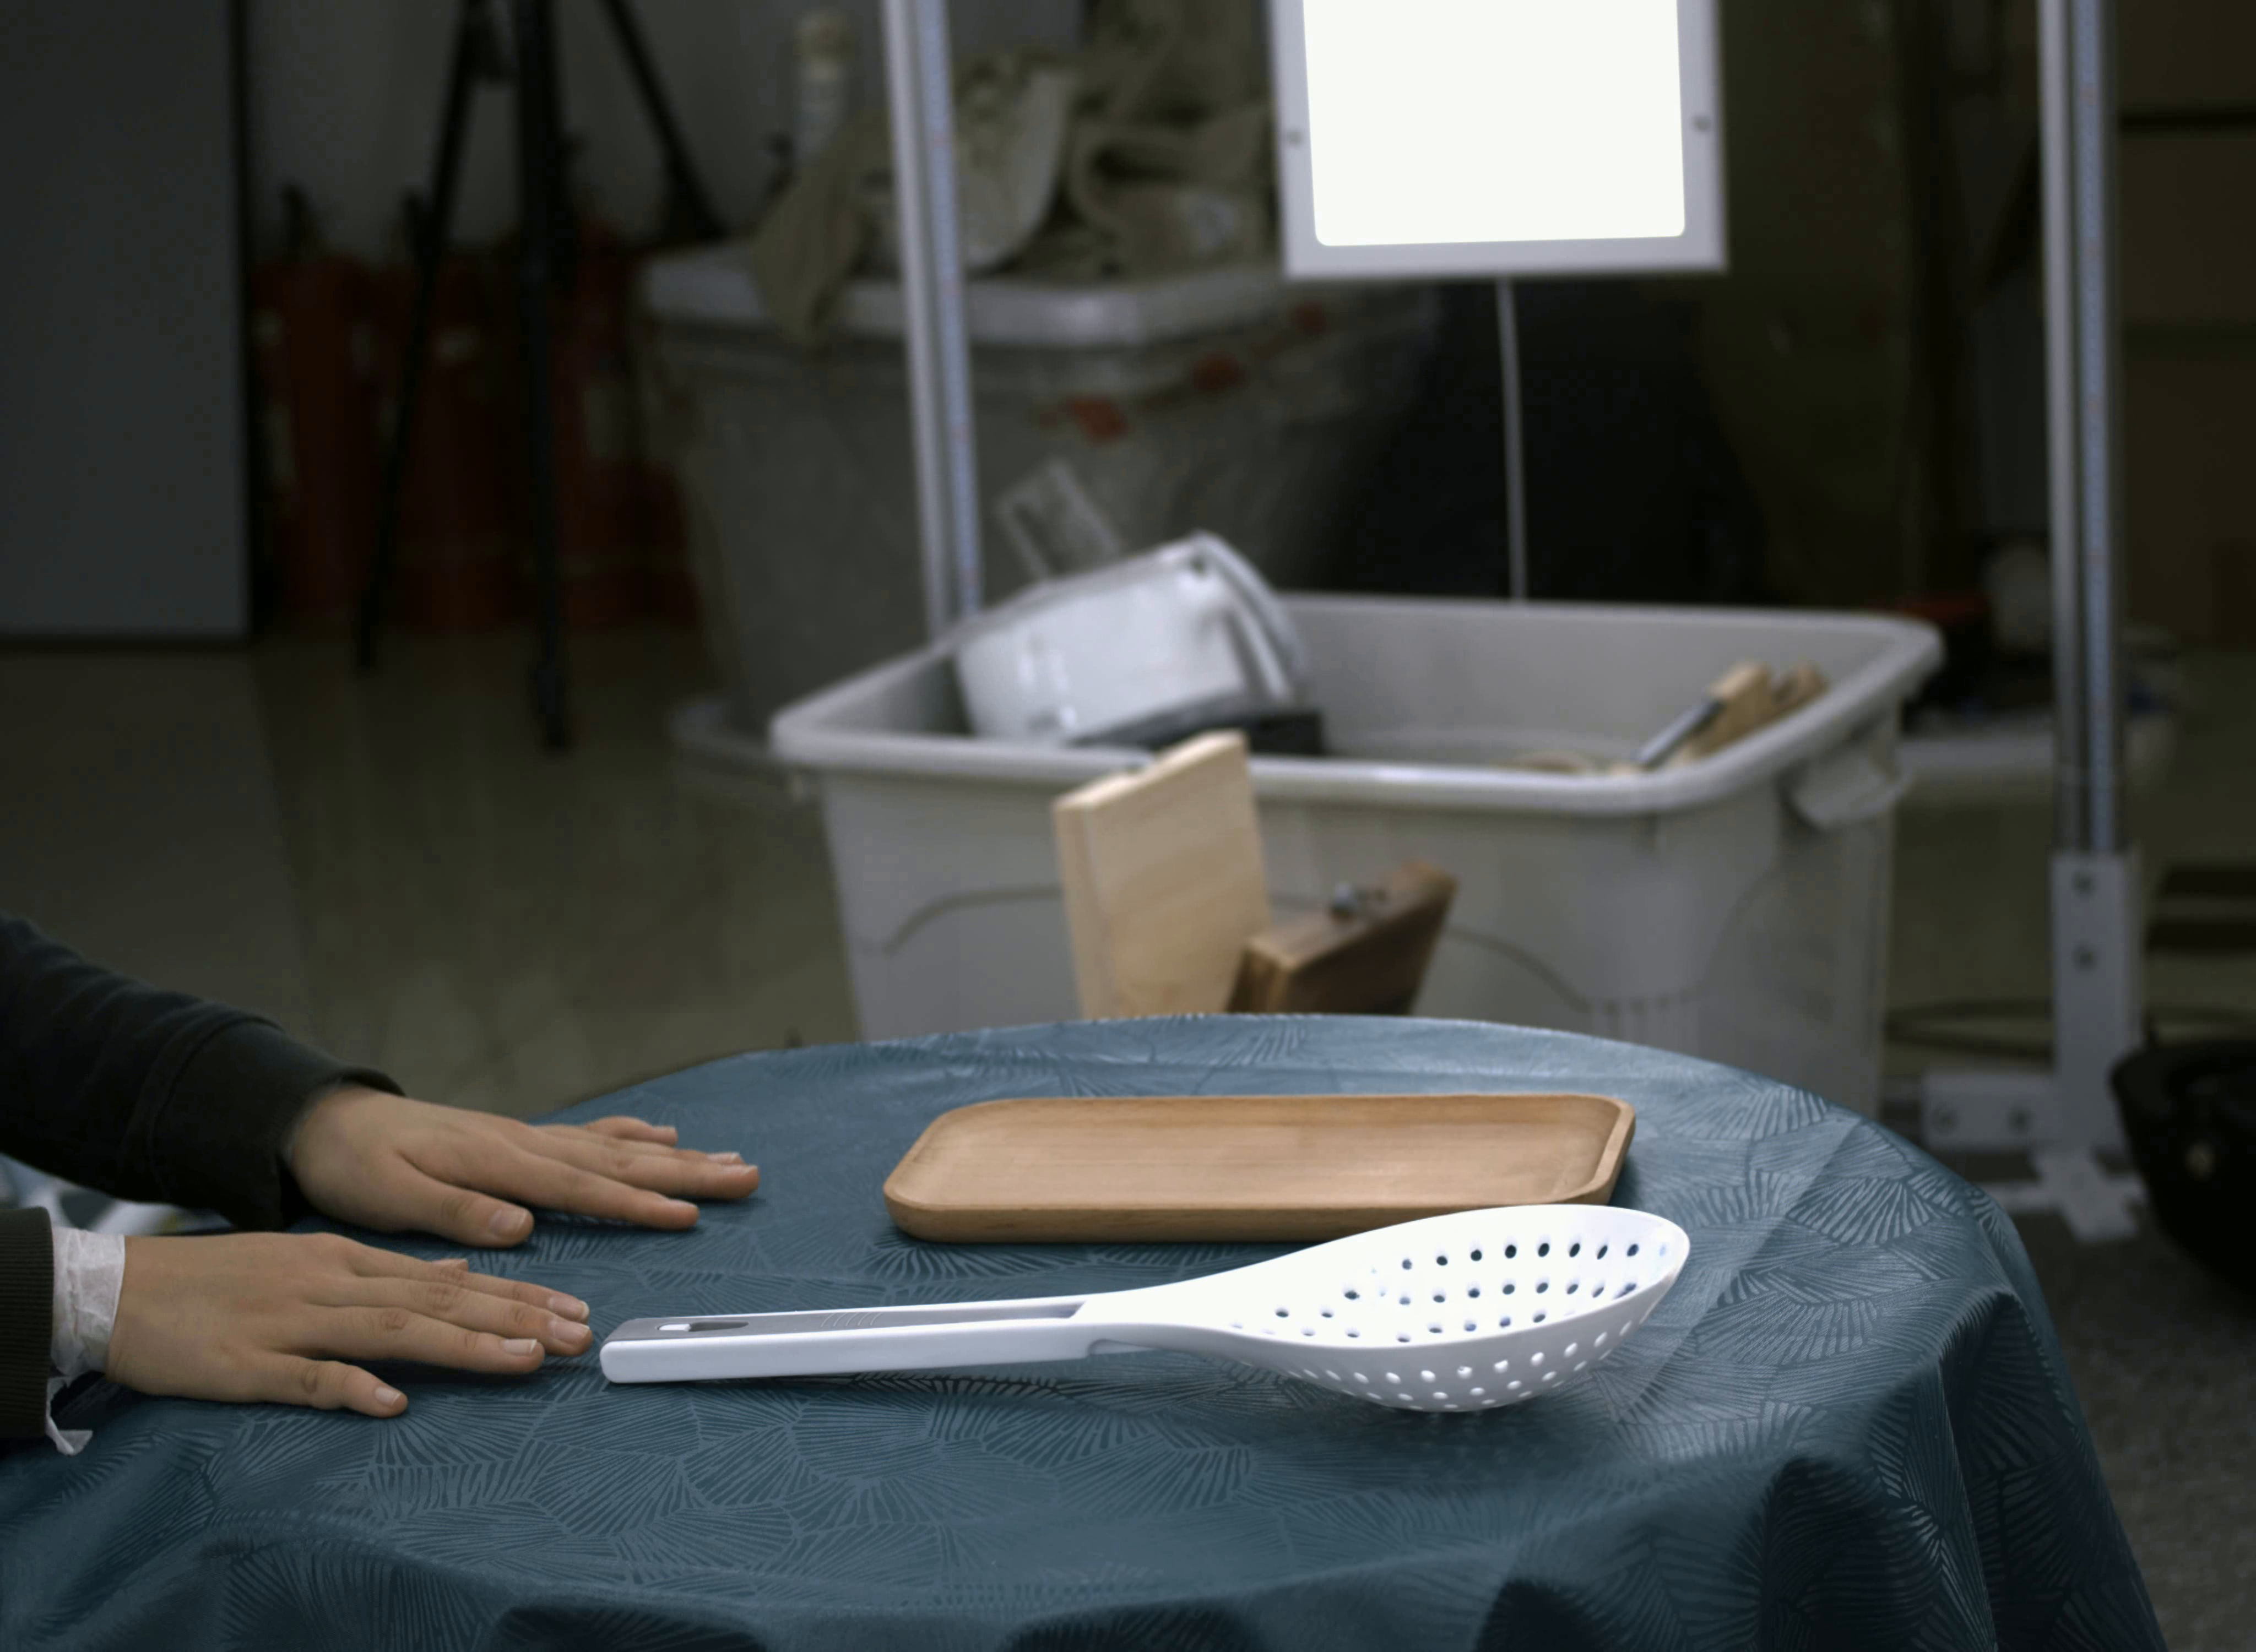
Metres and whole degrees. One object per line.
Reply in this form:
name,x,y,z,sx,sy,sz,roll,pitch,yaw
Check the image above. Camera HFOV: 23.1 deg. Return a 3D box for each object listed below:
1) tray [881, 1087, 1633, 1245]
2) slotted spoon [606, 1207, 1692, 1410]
tray,0.045,0.117,1.886,0.253,0.023,0.129,-2,12,15
slotted spoon,0.002,0.152,1.697,0.354,0.046,0.134,-1,12,19
